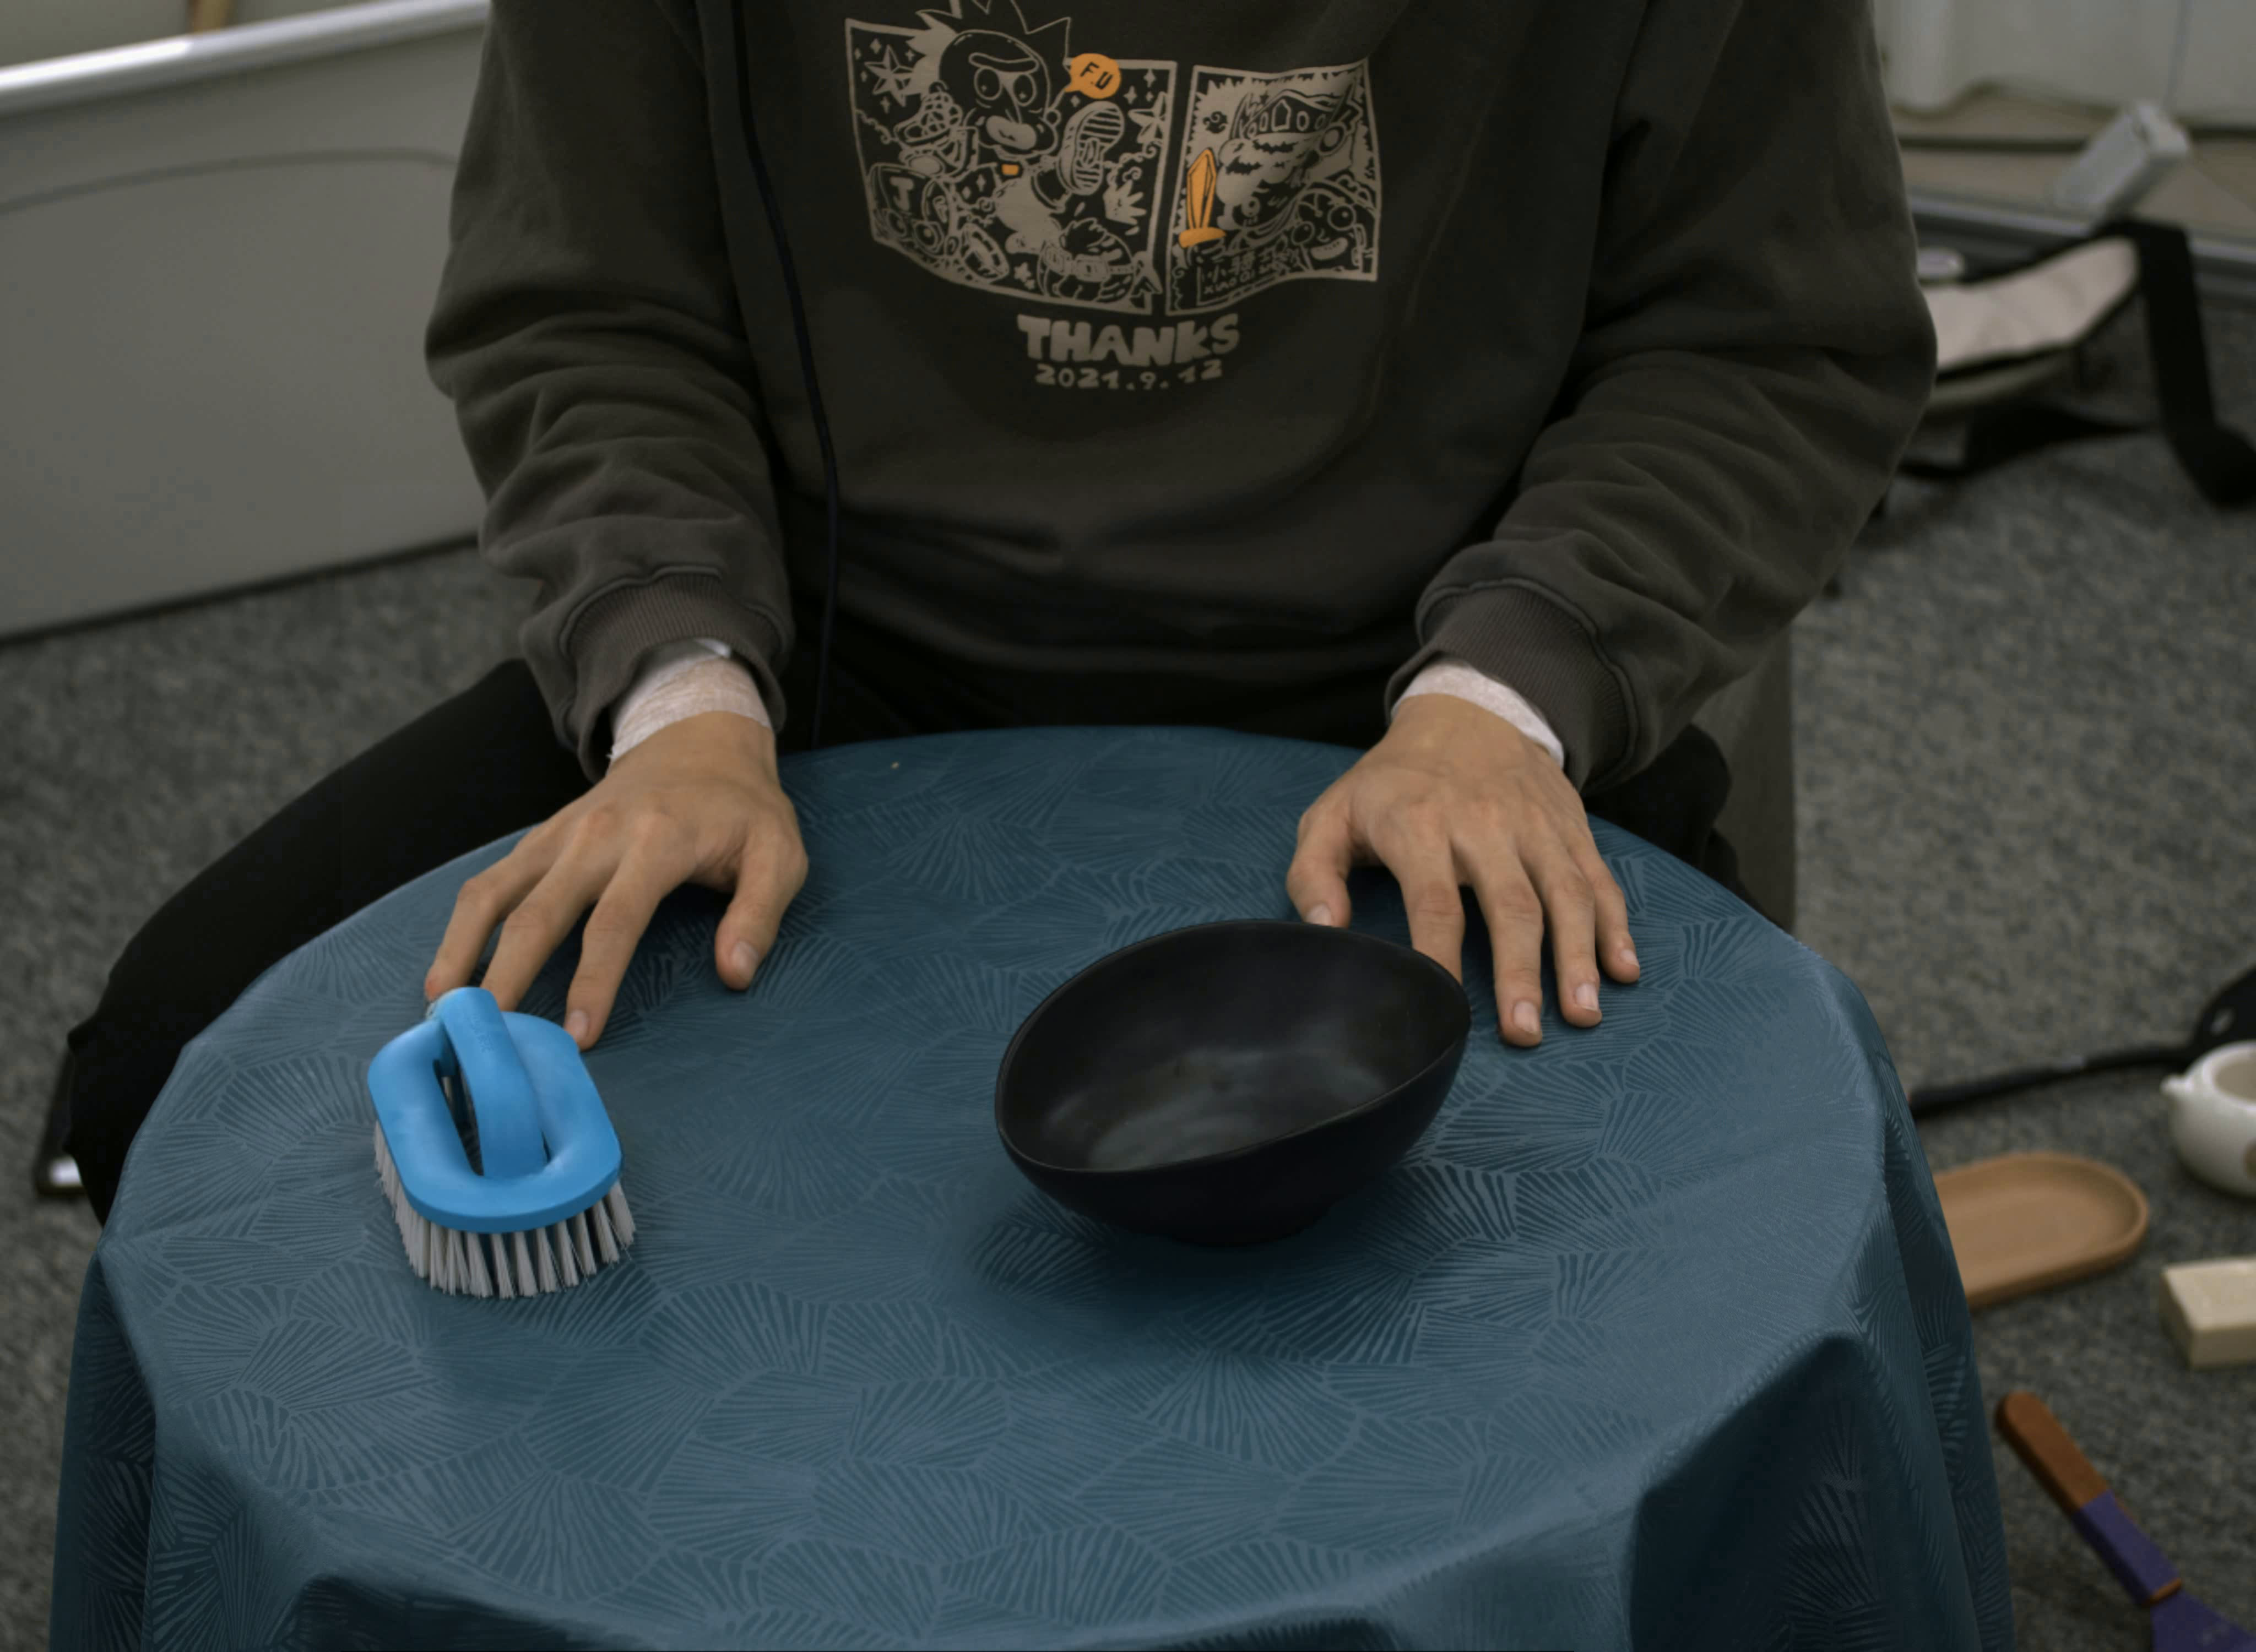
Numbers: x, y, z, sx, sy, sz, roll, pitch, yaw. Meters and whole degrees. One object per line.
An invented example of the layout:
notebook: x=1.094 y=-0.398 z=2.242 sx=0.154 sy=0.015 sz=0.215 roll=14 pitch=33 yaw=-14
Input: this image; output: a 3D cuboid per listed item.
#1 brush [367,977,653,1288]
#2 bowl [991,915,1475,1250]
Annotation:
brush: x=-0.210 y=0.093 z=1.866 sx=0.084 sy=0.063 sz=0.143 roll=-13 pitch=28 yaw=-10
bowl: x=0.037 y=0.094 z=1.842 sx=0.172 sy=0.066 sz=0.137 roll=-24 pitch=33 yaw=-32
